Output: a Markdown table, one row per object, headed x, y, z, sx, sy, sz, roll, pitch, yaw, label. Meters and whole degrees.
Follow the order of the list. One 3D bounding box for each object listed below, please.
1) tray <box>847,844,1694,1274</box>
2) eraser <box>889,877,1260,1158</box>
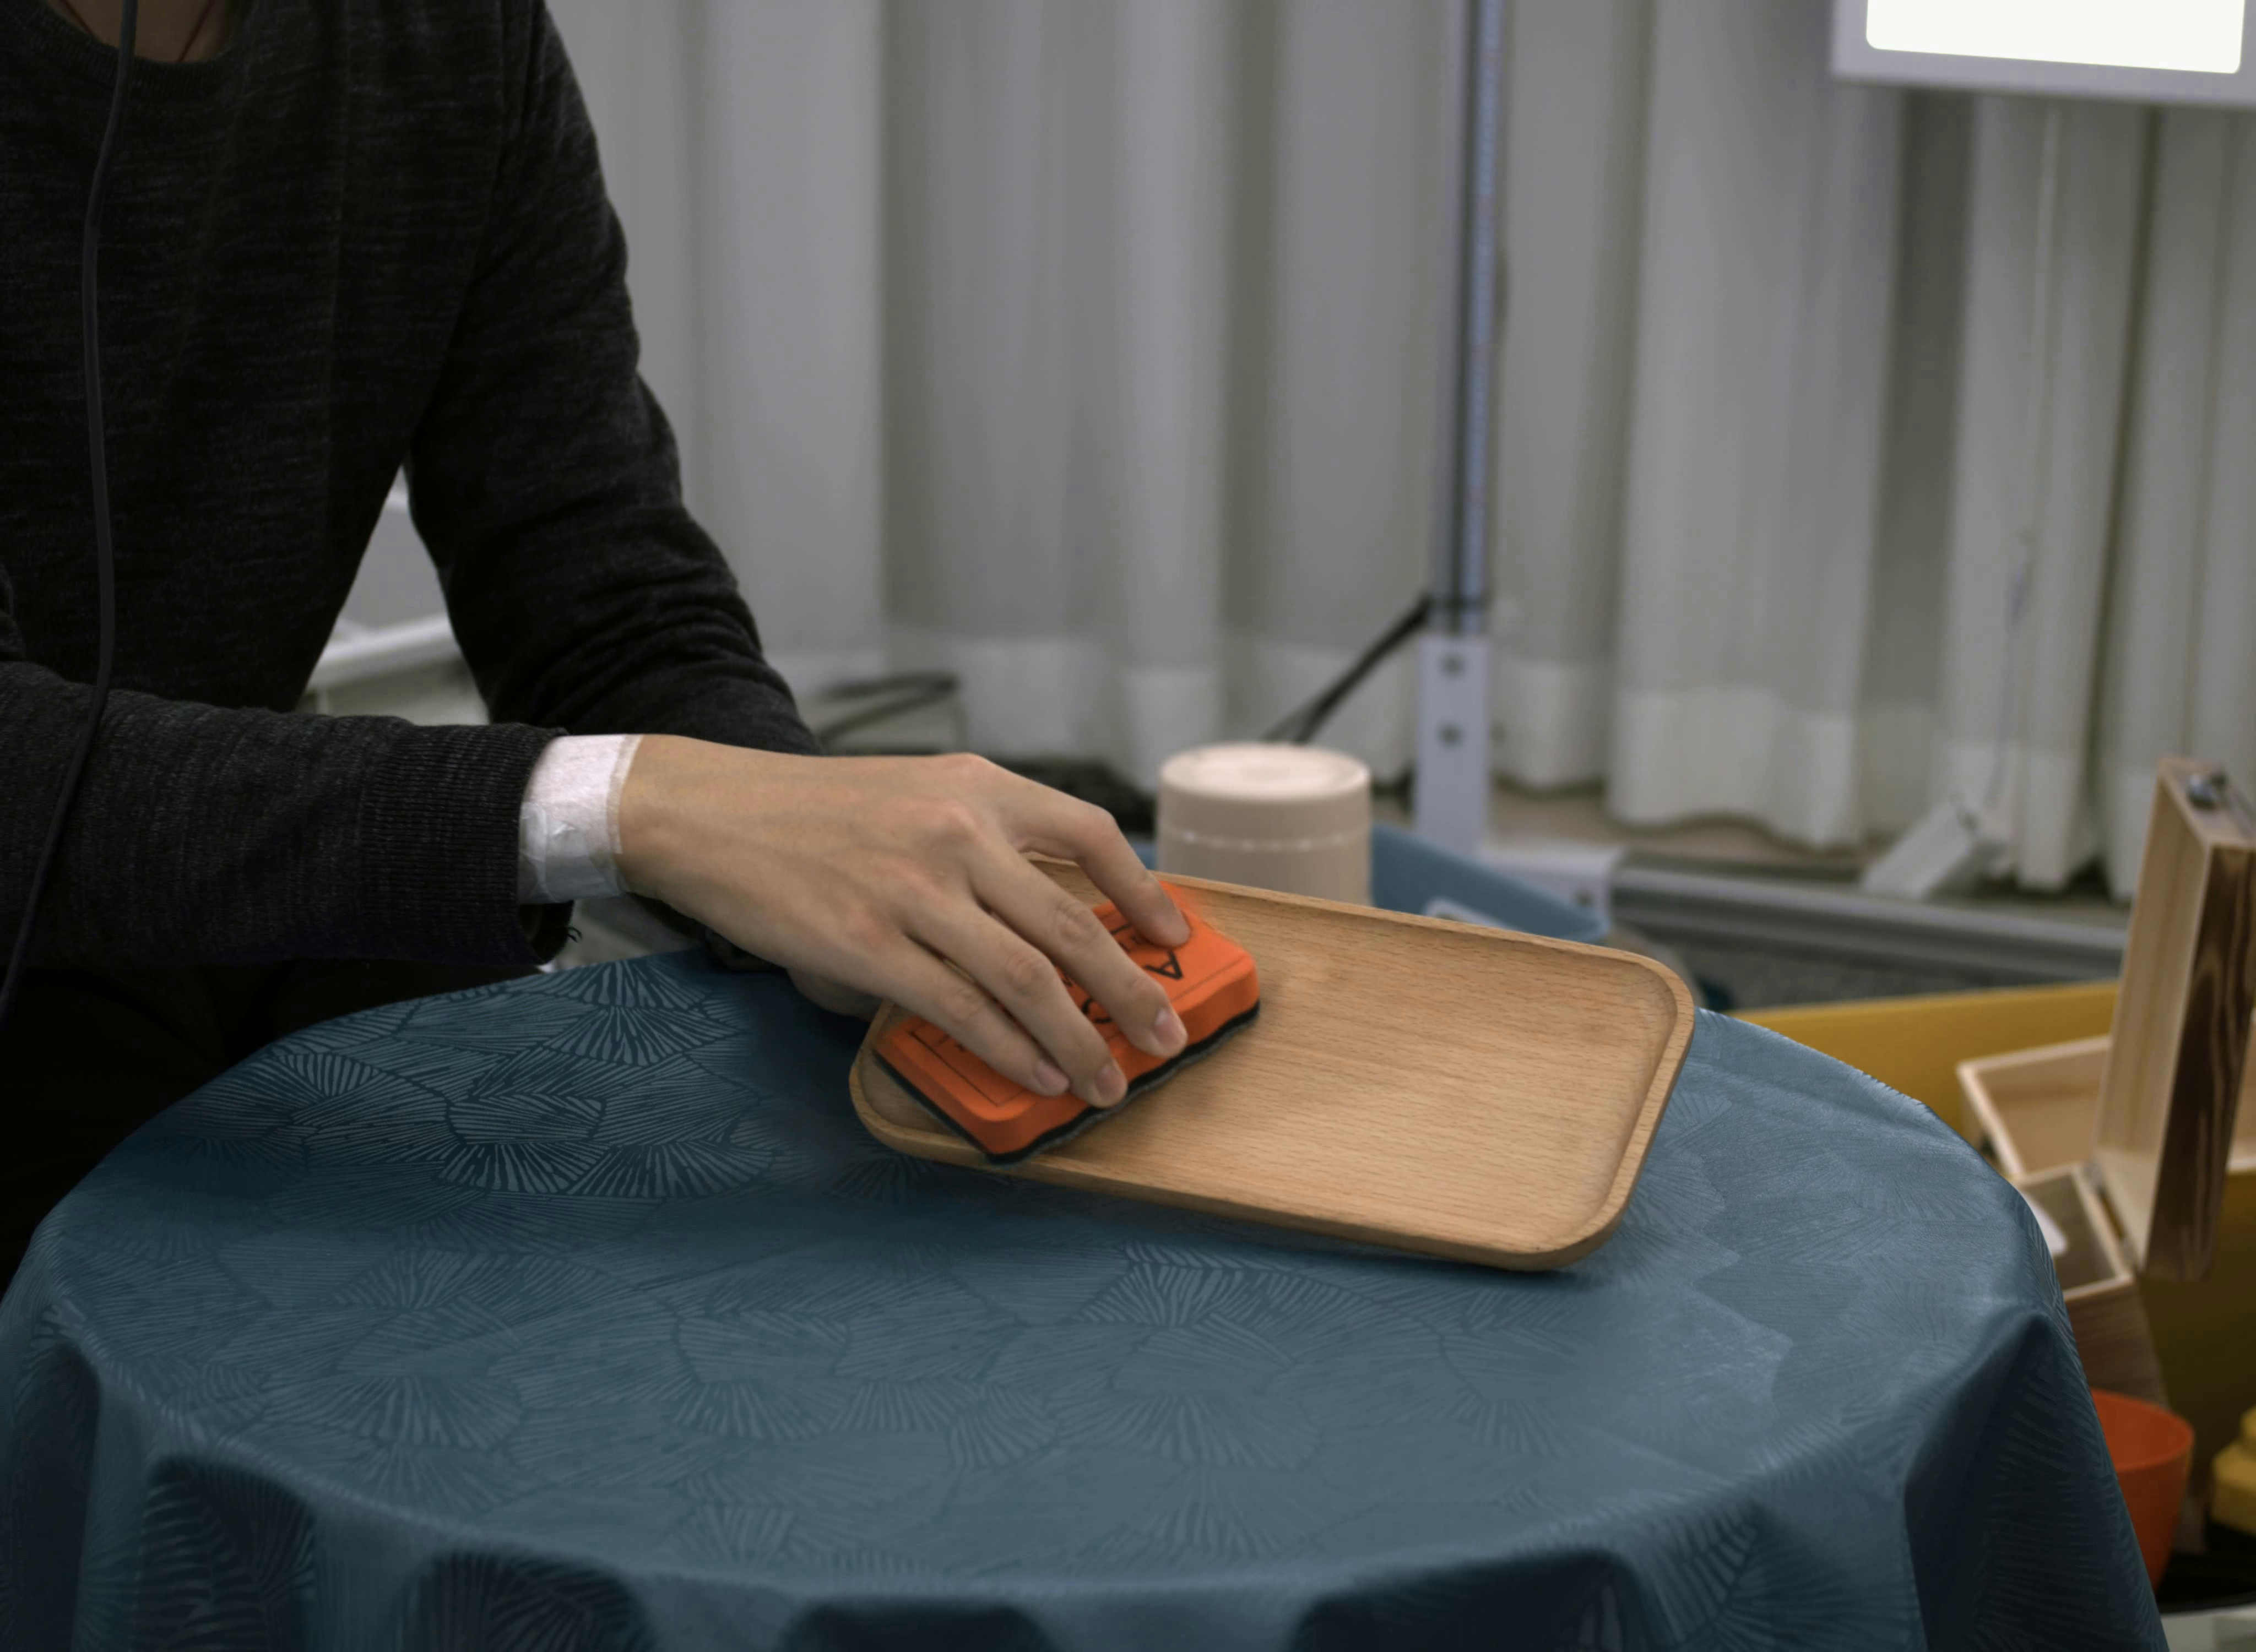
| x | y | z | sx | sy | sz | roll | pitch | yaw | label |
| --- | --- | --- | --- | --- | --- | --- | --- | --- | --- |
| 0.043 | 0.070 | 1.618 | 0.248 | 0.023 | 0.130 | 10 | 45 | 19 | tray |
| -0.016 | 0.058 | 1.620 | 0.108 | 0.023 | 0.058 | -29 | 44 | -24 | eraser |
